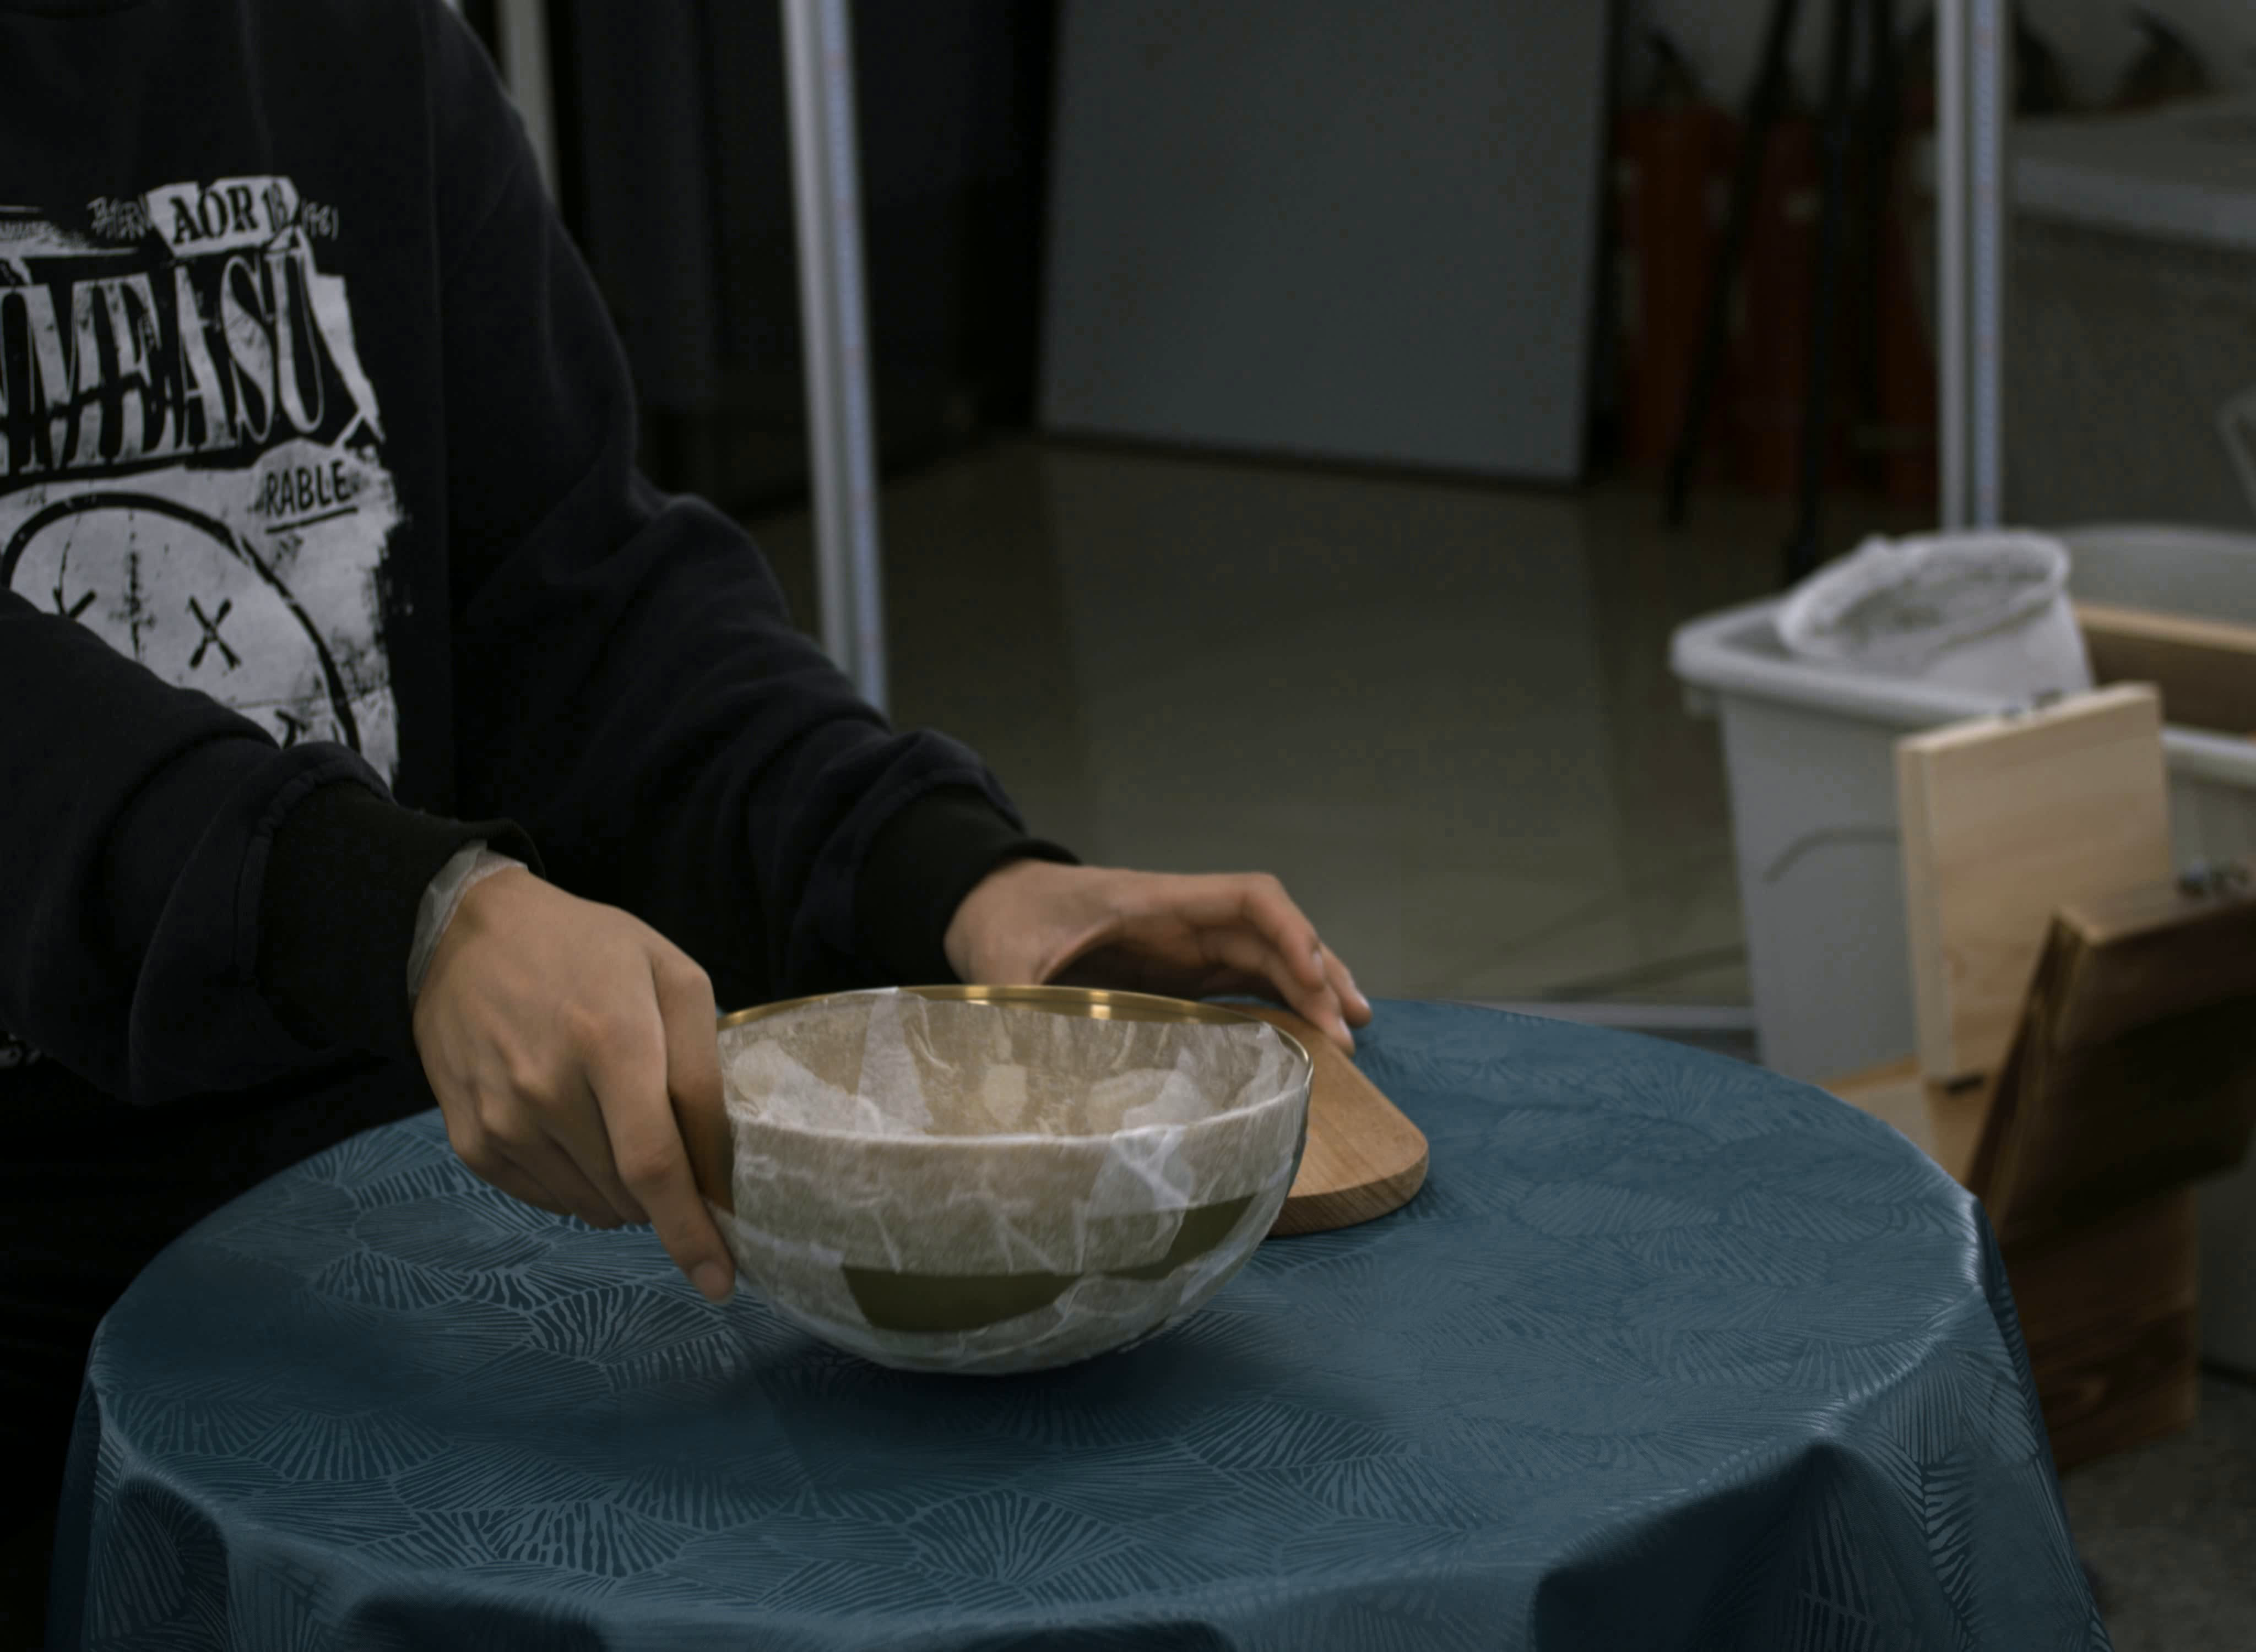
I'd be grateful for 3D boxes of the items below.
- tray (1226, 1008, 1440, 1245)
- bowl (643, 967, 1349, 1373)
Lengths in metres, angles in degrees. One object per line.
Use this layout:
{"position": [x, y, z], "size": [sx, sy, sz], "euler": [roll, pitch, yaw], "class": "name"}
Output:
{"position": [0.036, 0.099, 1.817], "size": [0.100, 0.020, 0.233], "euler": [-9, 16, -12], "class": "tray"}
{"position": [-0.040, 0.109, 1.616], "size": [0.212, 0.096, 0.215], "euler": [-1, 11, -1], "class": "bowl"}
